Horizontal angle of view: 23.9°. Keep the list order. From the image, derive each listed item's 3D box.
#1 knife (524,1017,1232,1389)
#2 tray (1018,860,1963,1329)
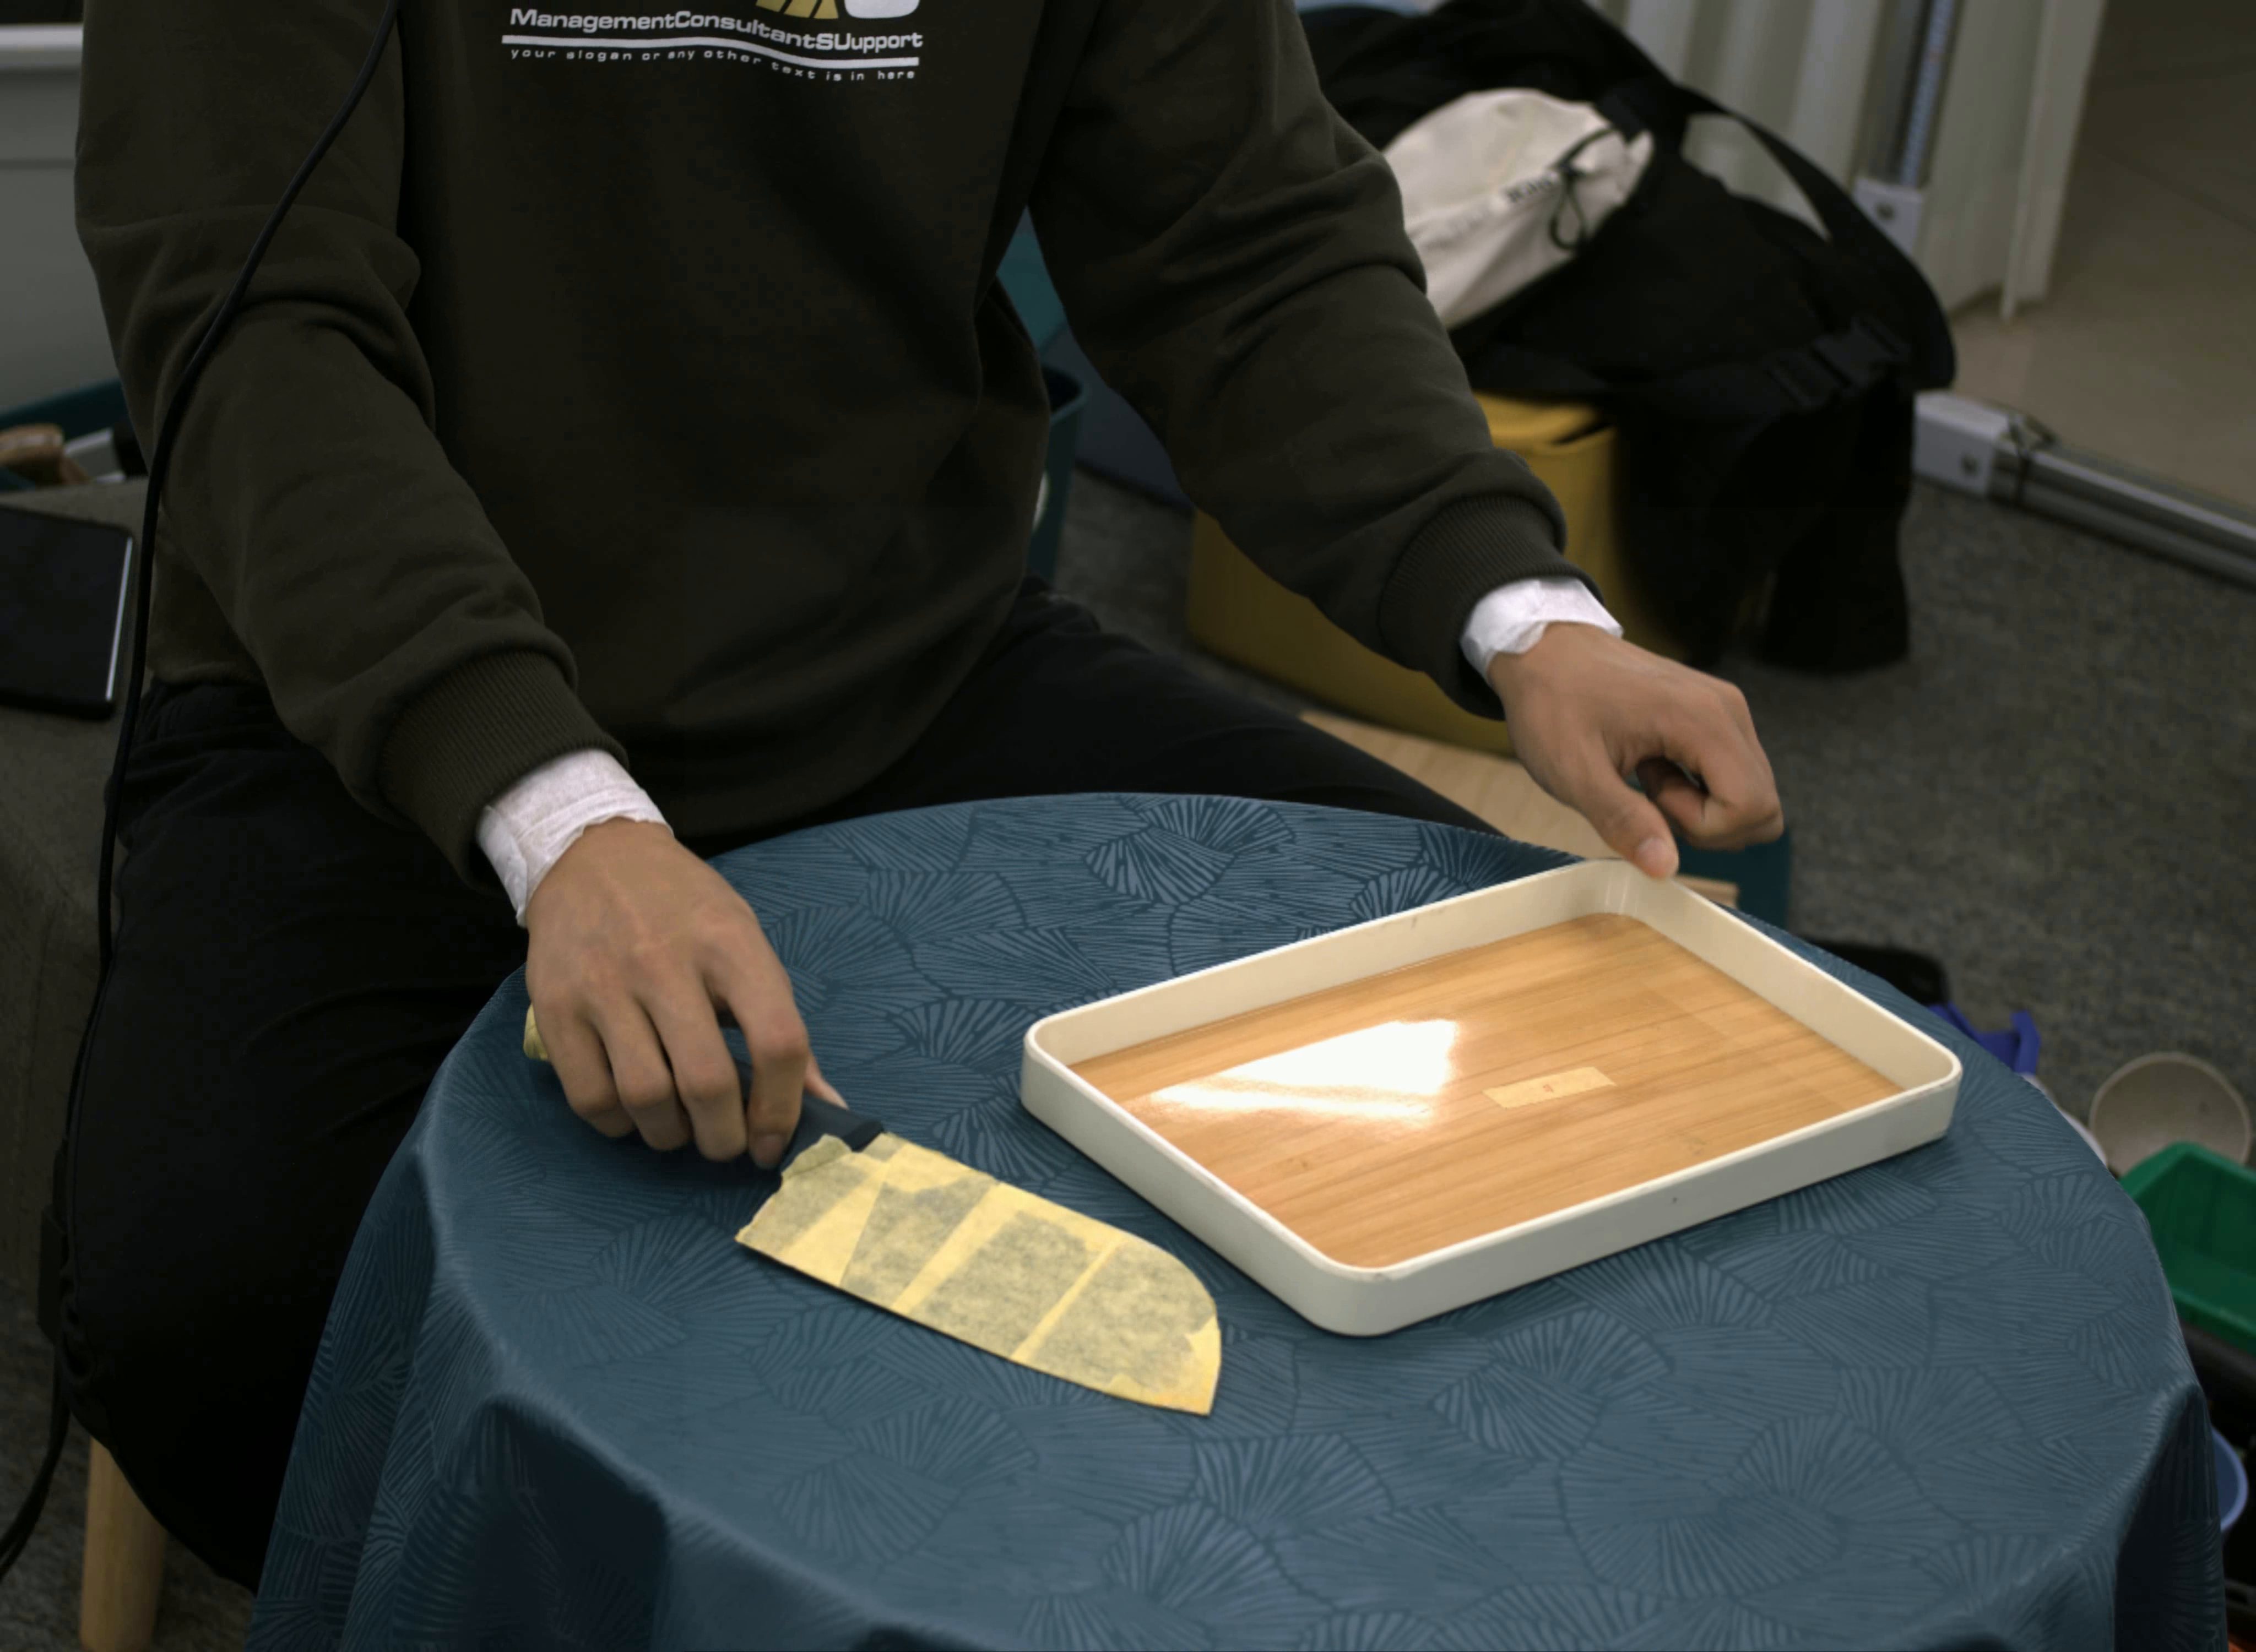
[{"bbox_3d":[-0.090,0.125,1.759,0.291,0.027,0.081,22,40,26],"label":"knife"},{"bbox_3d":[0.129,0.089,1.873,0.298,0.027,0.193,-14,32,-36],"label":"tray"}]
